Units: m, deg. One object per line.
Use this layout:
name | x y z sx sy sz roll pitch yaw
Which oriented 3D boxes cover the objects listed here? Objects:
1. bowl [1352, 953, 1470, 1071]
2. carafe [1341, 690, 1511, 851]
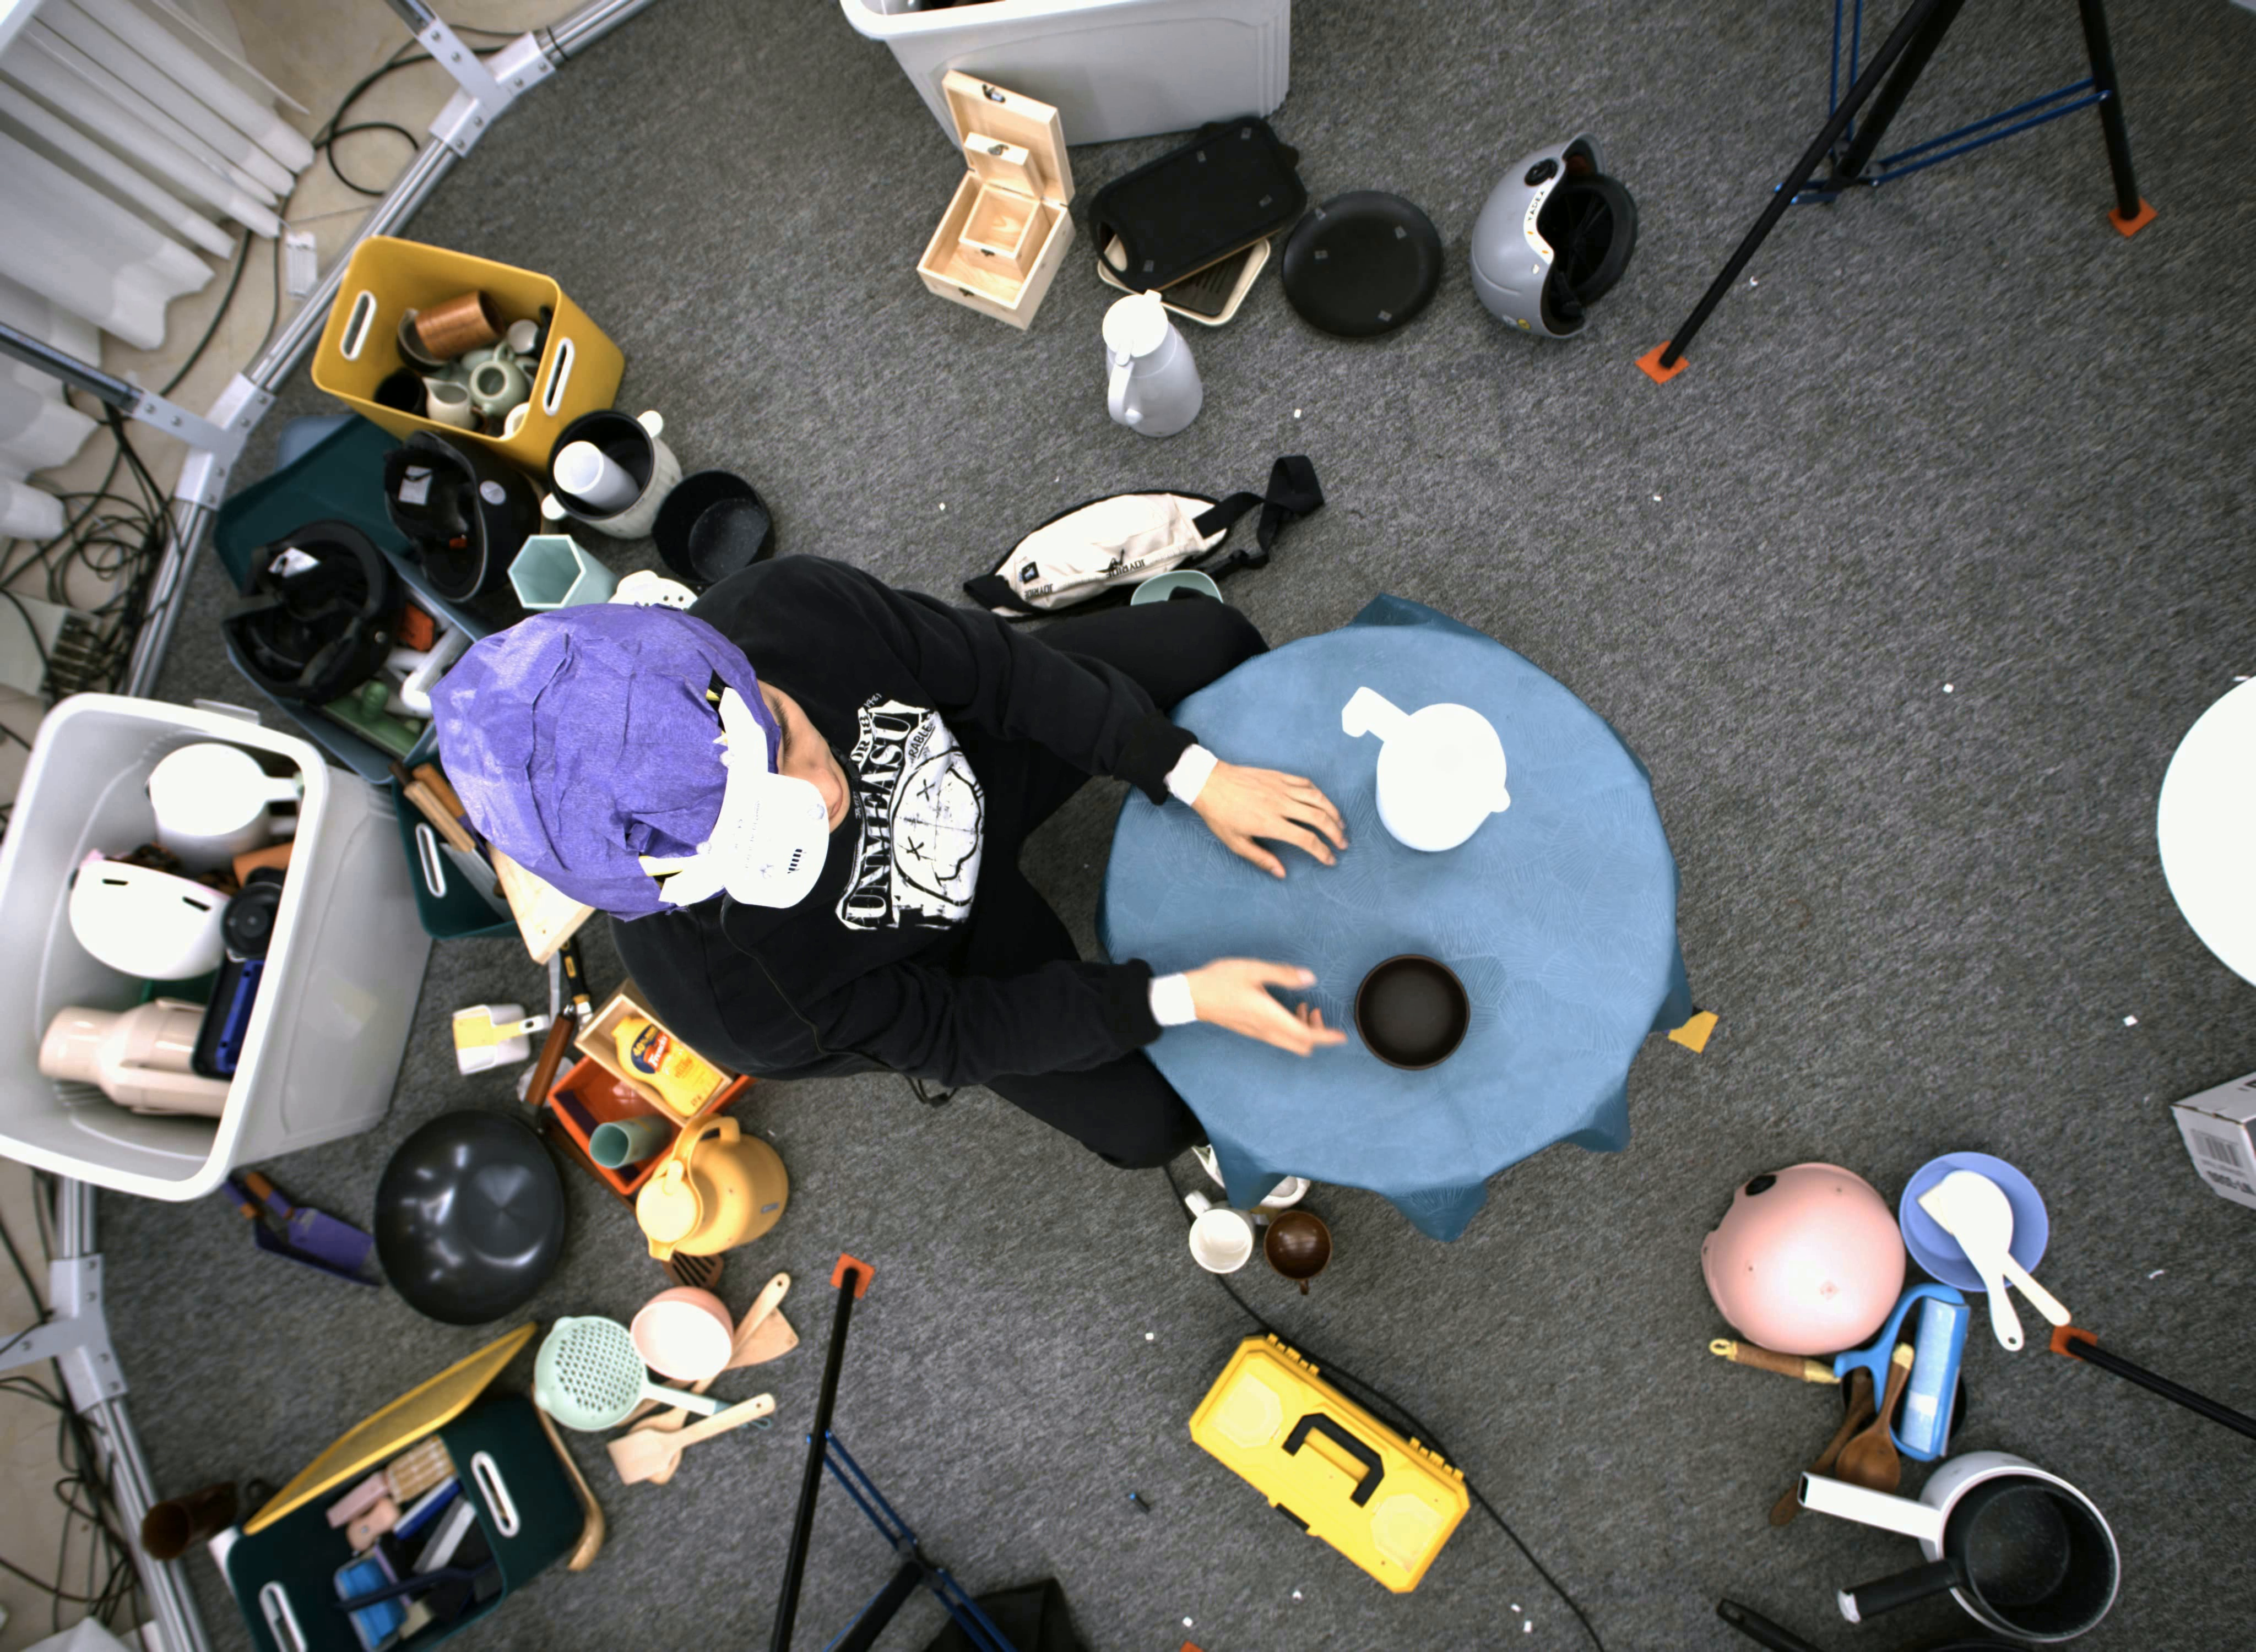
bowl | 0.289 0.188 1.414 0.118 0.070 0.117 -1 87 9
carafe | 0.284 -0.054 1.329 0.172 0.268 0.124 36 94 11
